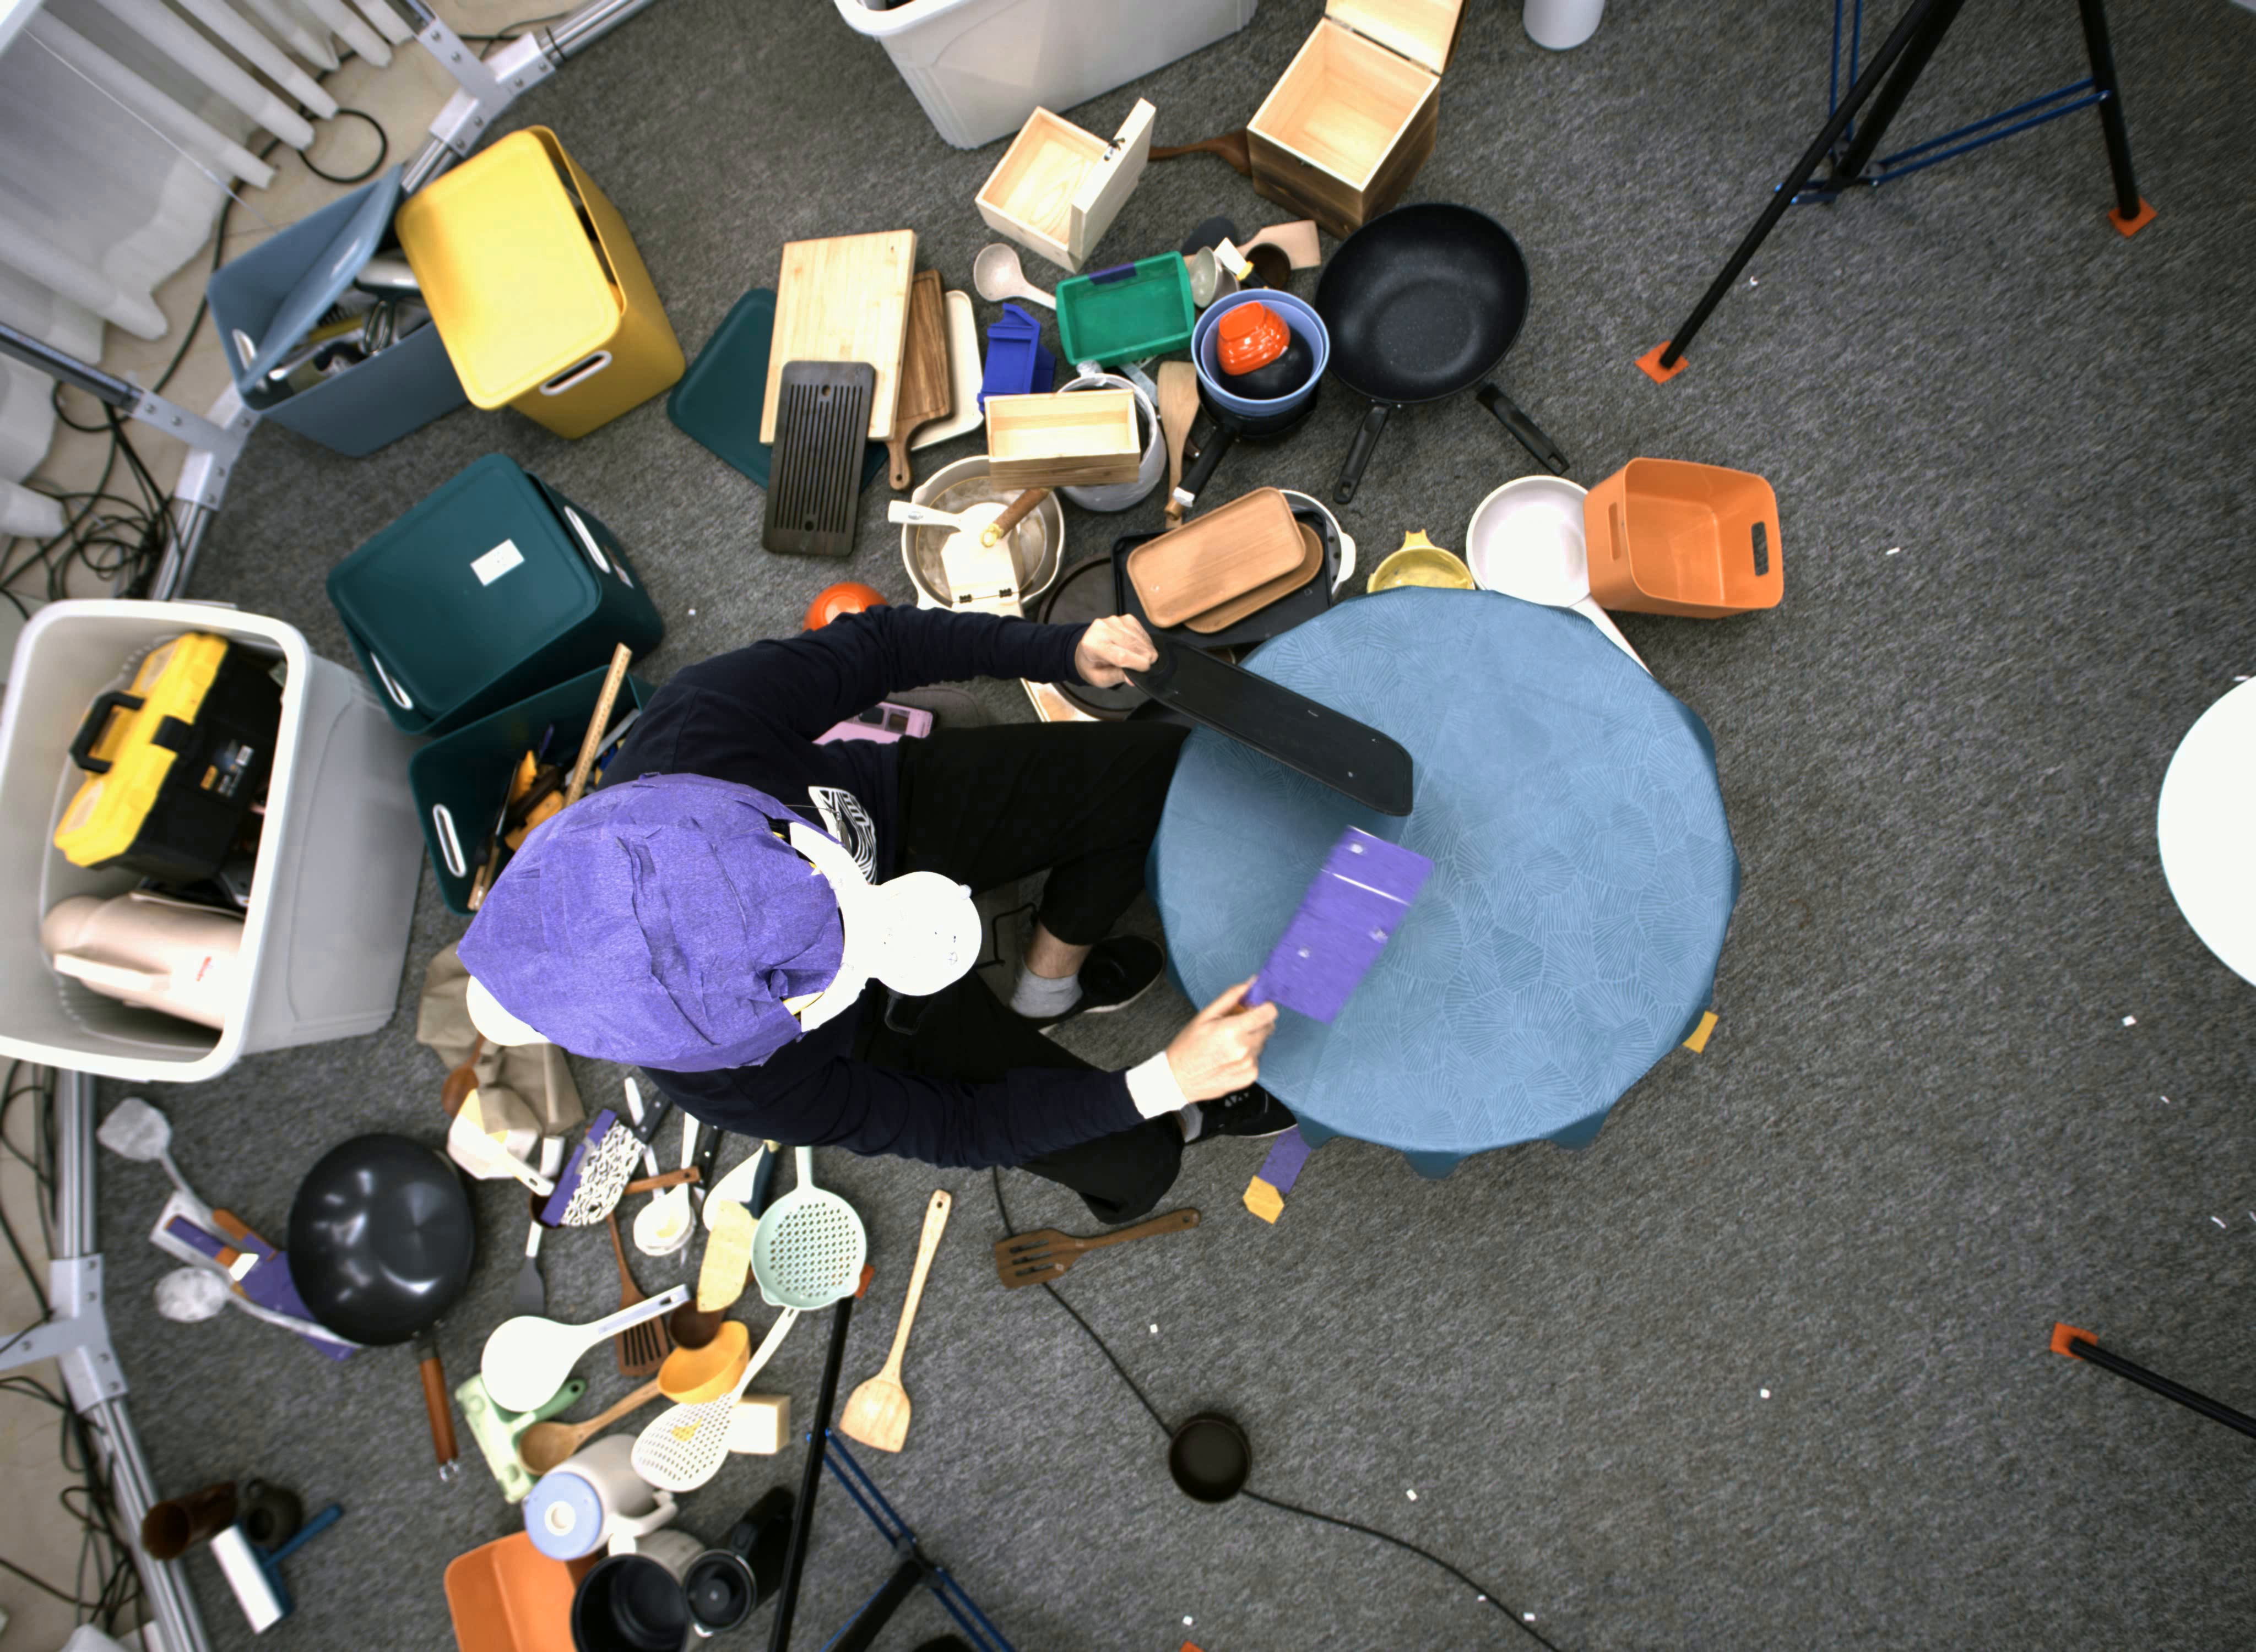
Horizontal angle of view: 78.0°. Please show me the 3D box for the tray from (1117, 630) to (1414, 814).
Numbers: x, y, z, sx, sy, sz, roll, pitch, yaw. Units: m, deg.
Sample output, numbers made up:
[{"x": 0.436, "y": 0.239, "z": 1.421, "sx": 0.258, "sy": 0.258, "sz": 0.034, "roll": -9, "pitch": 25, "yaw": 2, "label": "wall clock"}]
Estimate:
[{"x": 0.140, "y": -0.113, "z": 1.375, "sx": 0.326, "sy": 0.206, "sz": 0.010, "roll": 26, "pitch": 117, "yaw": -1, "label": "tray"}]

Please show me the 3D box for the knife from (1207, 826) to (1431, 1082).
[{"x": 0.182, "y": 0.141, "z": 1.329, "sx": 0.104, "sy": 0.031, "sz": 0.322, "roll": 24, "pitch": 122, "yaw": -6, "label": "knife"}]
